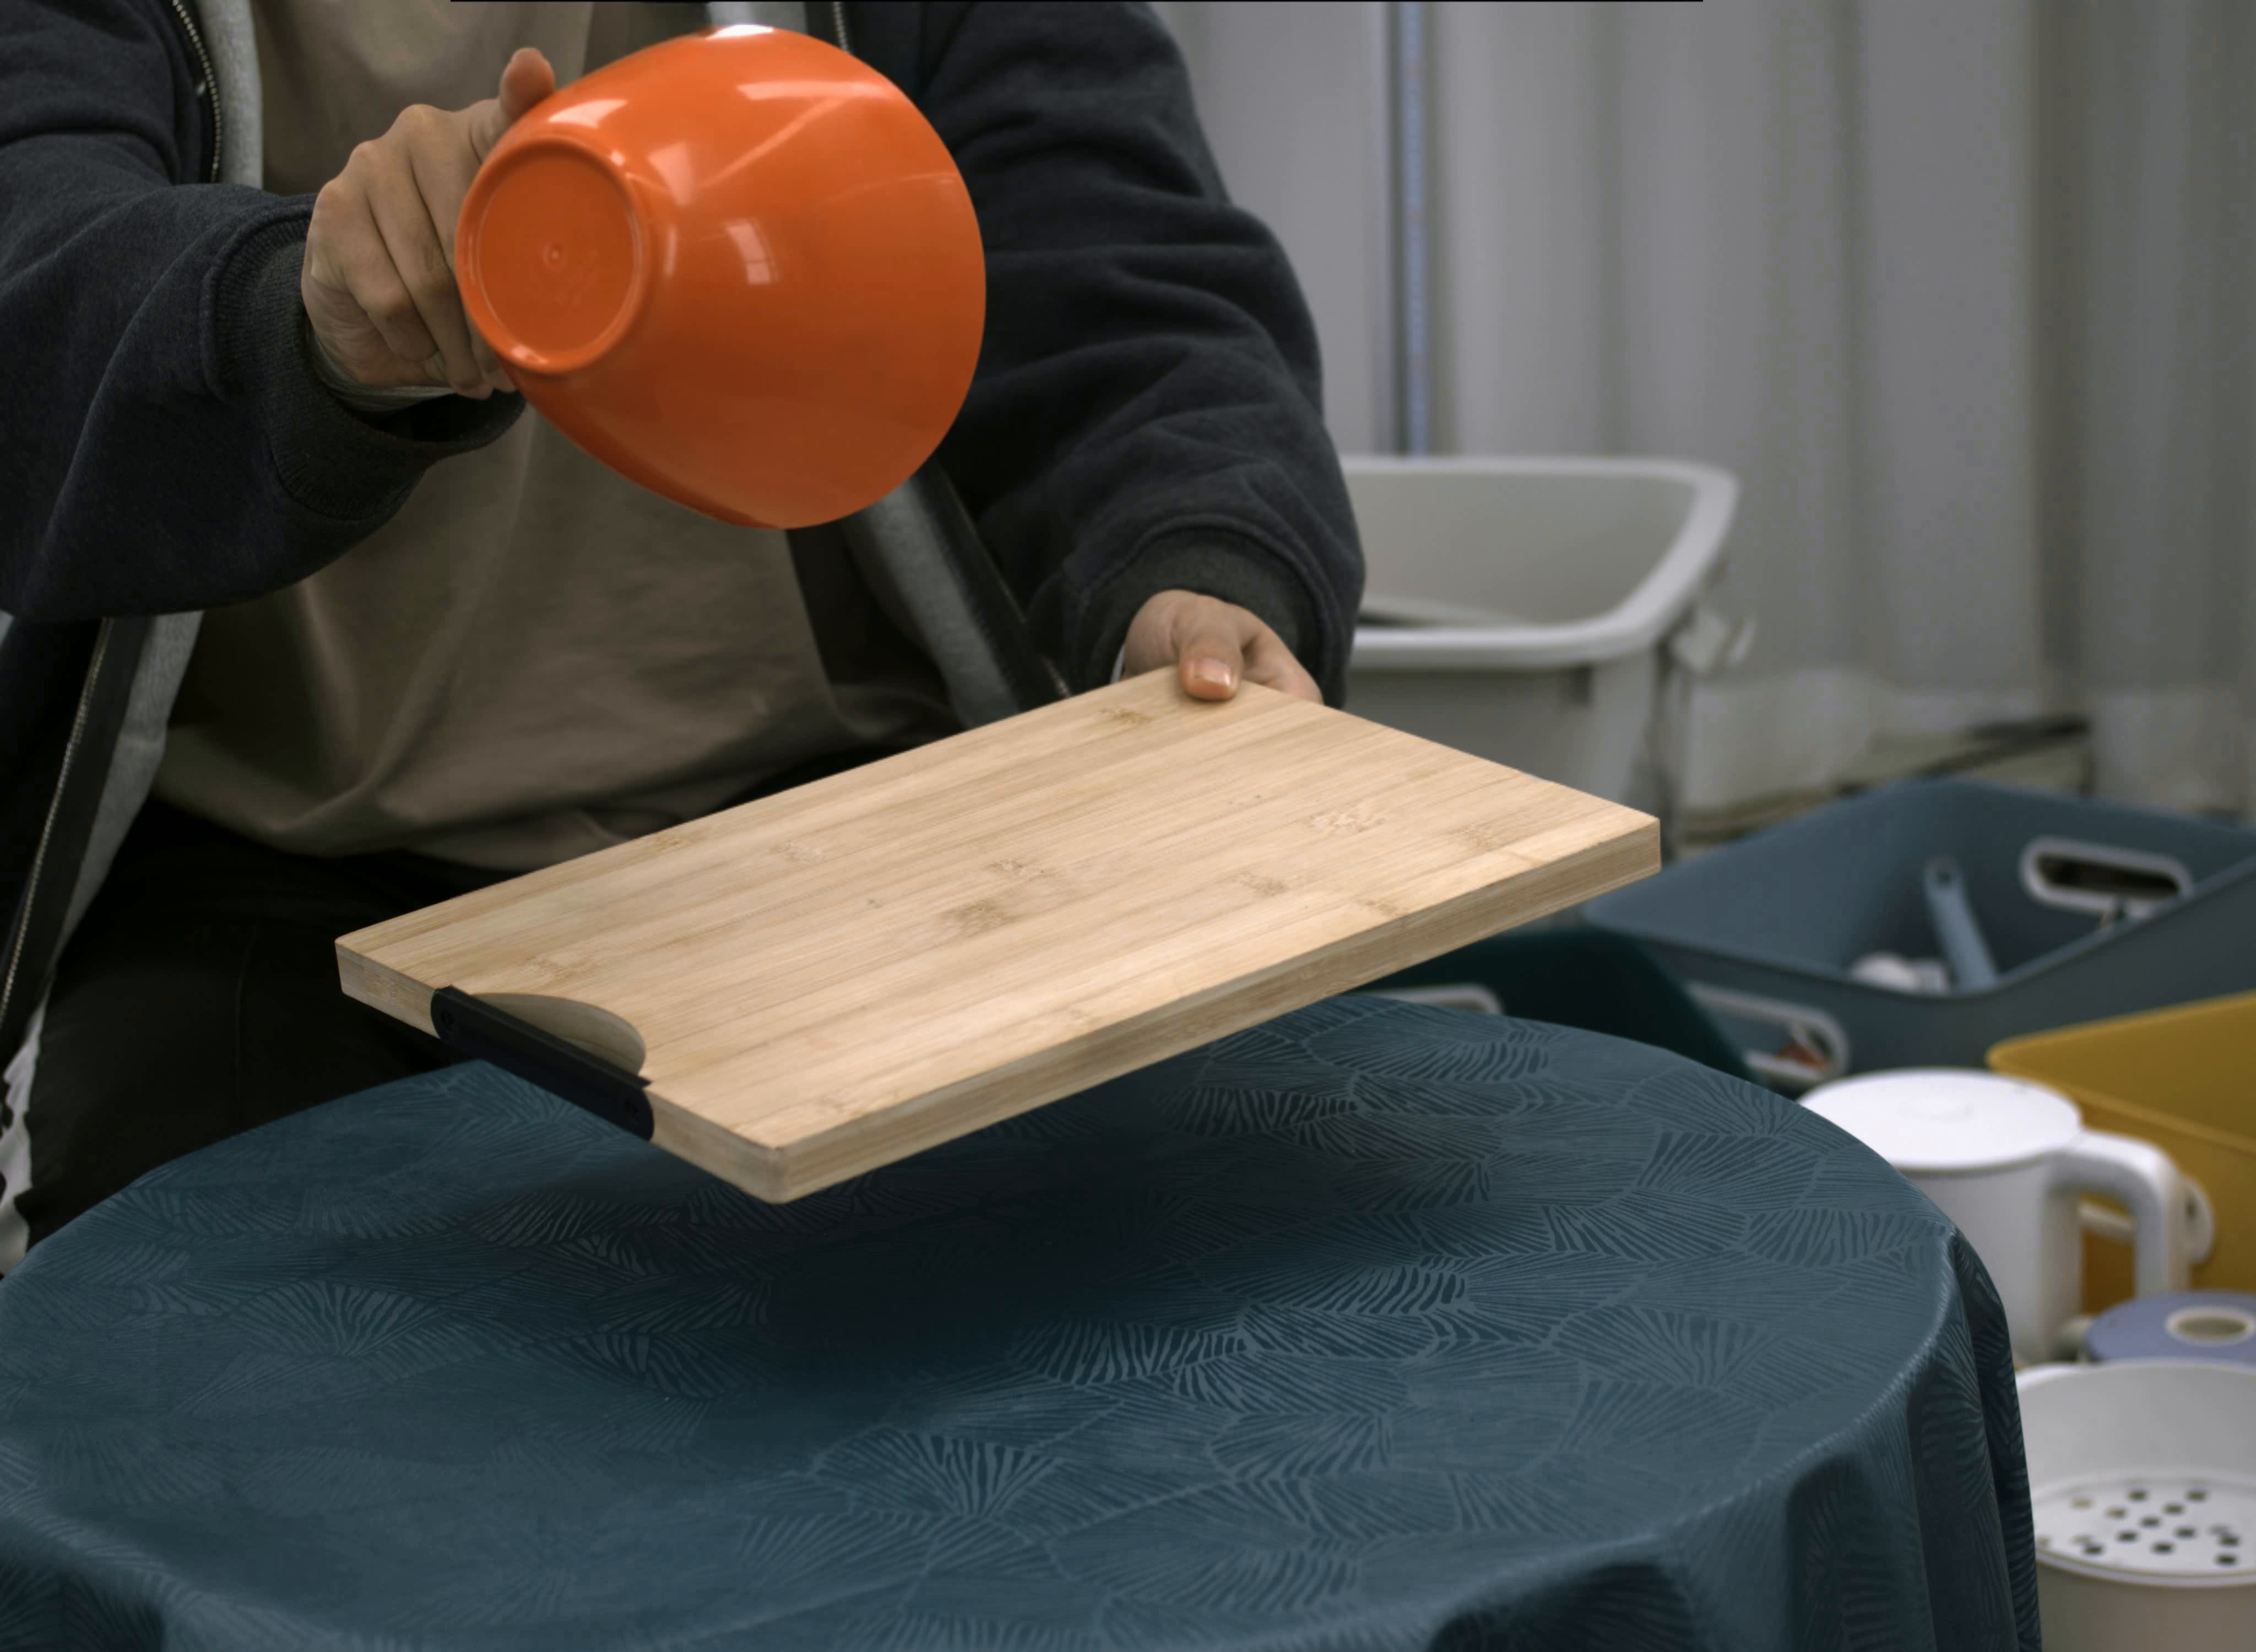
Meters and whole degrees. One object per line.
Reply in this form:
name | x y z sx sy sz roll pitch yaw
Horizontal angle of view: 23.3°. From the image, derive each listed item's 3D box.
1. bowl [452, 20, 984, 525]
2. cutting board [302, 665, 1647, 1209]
bowl | -0.129 -0.158 1.572 0.148 0.148 0.104 6 8 31
cutting board | -0.044 0.027 1.692 0.348 0.023 0.252 -19 24 -35
